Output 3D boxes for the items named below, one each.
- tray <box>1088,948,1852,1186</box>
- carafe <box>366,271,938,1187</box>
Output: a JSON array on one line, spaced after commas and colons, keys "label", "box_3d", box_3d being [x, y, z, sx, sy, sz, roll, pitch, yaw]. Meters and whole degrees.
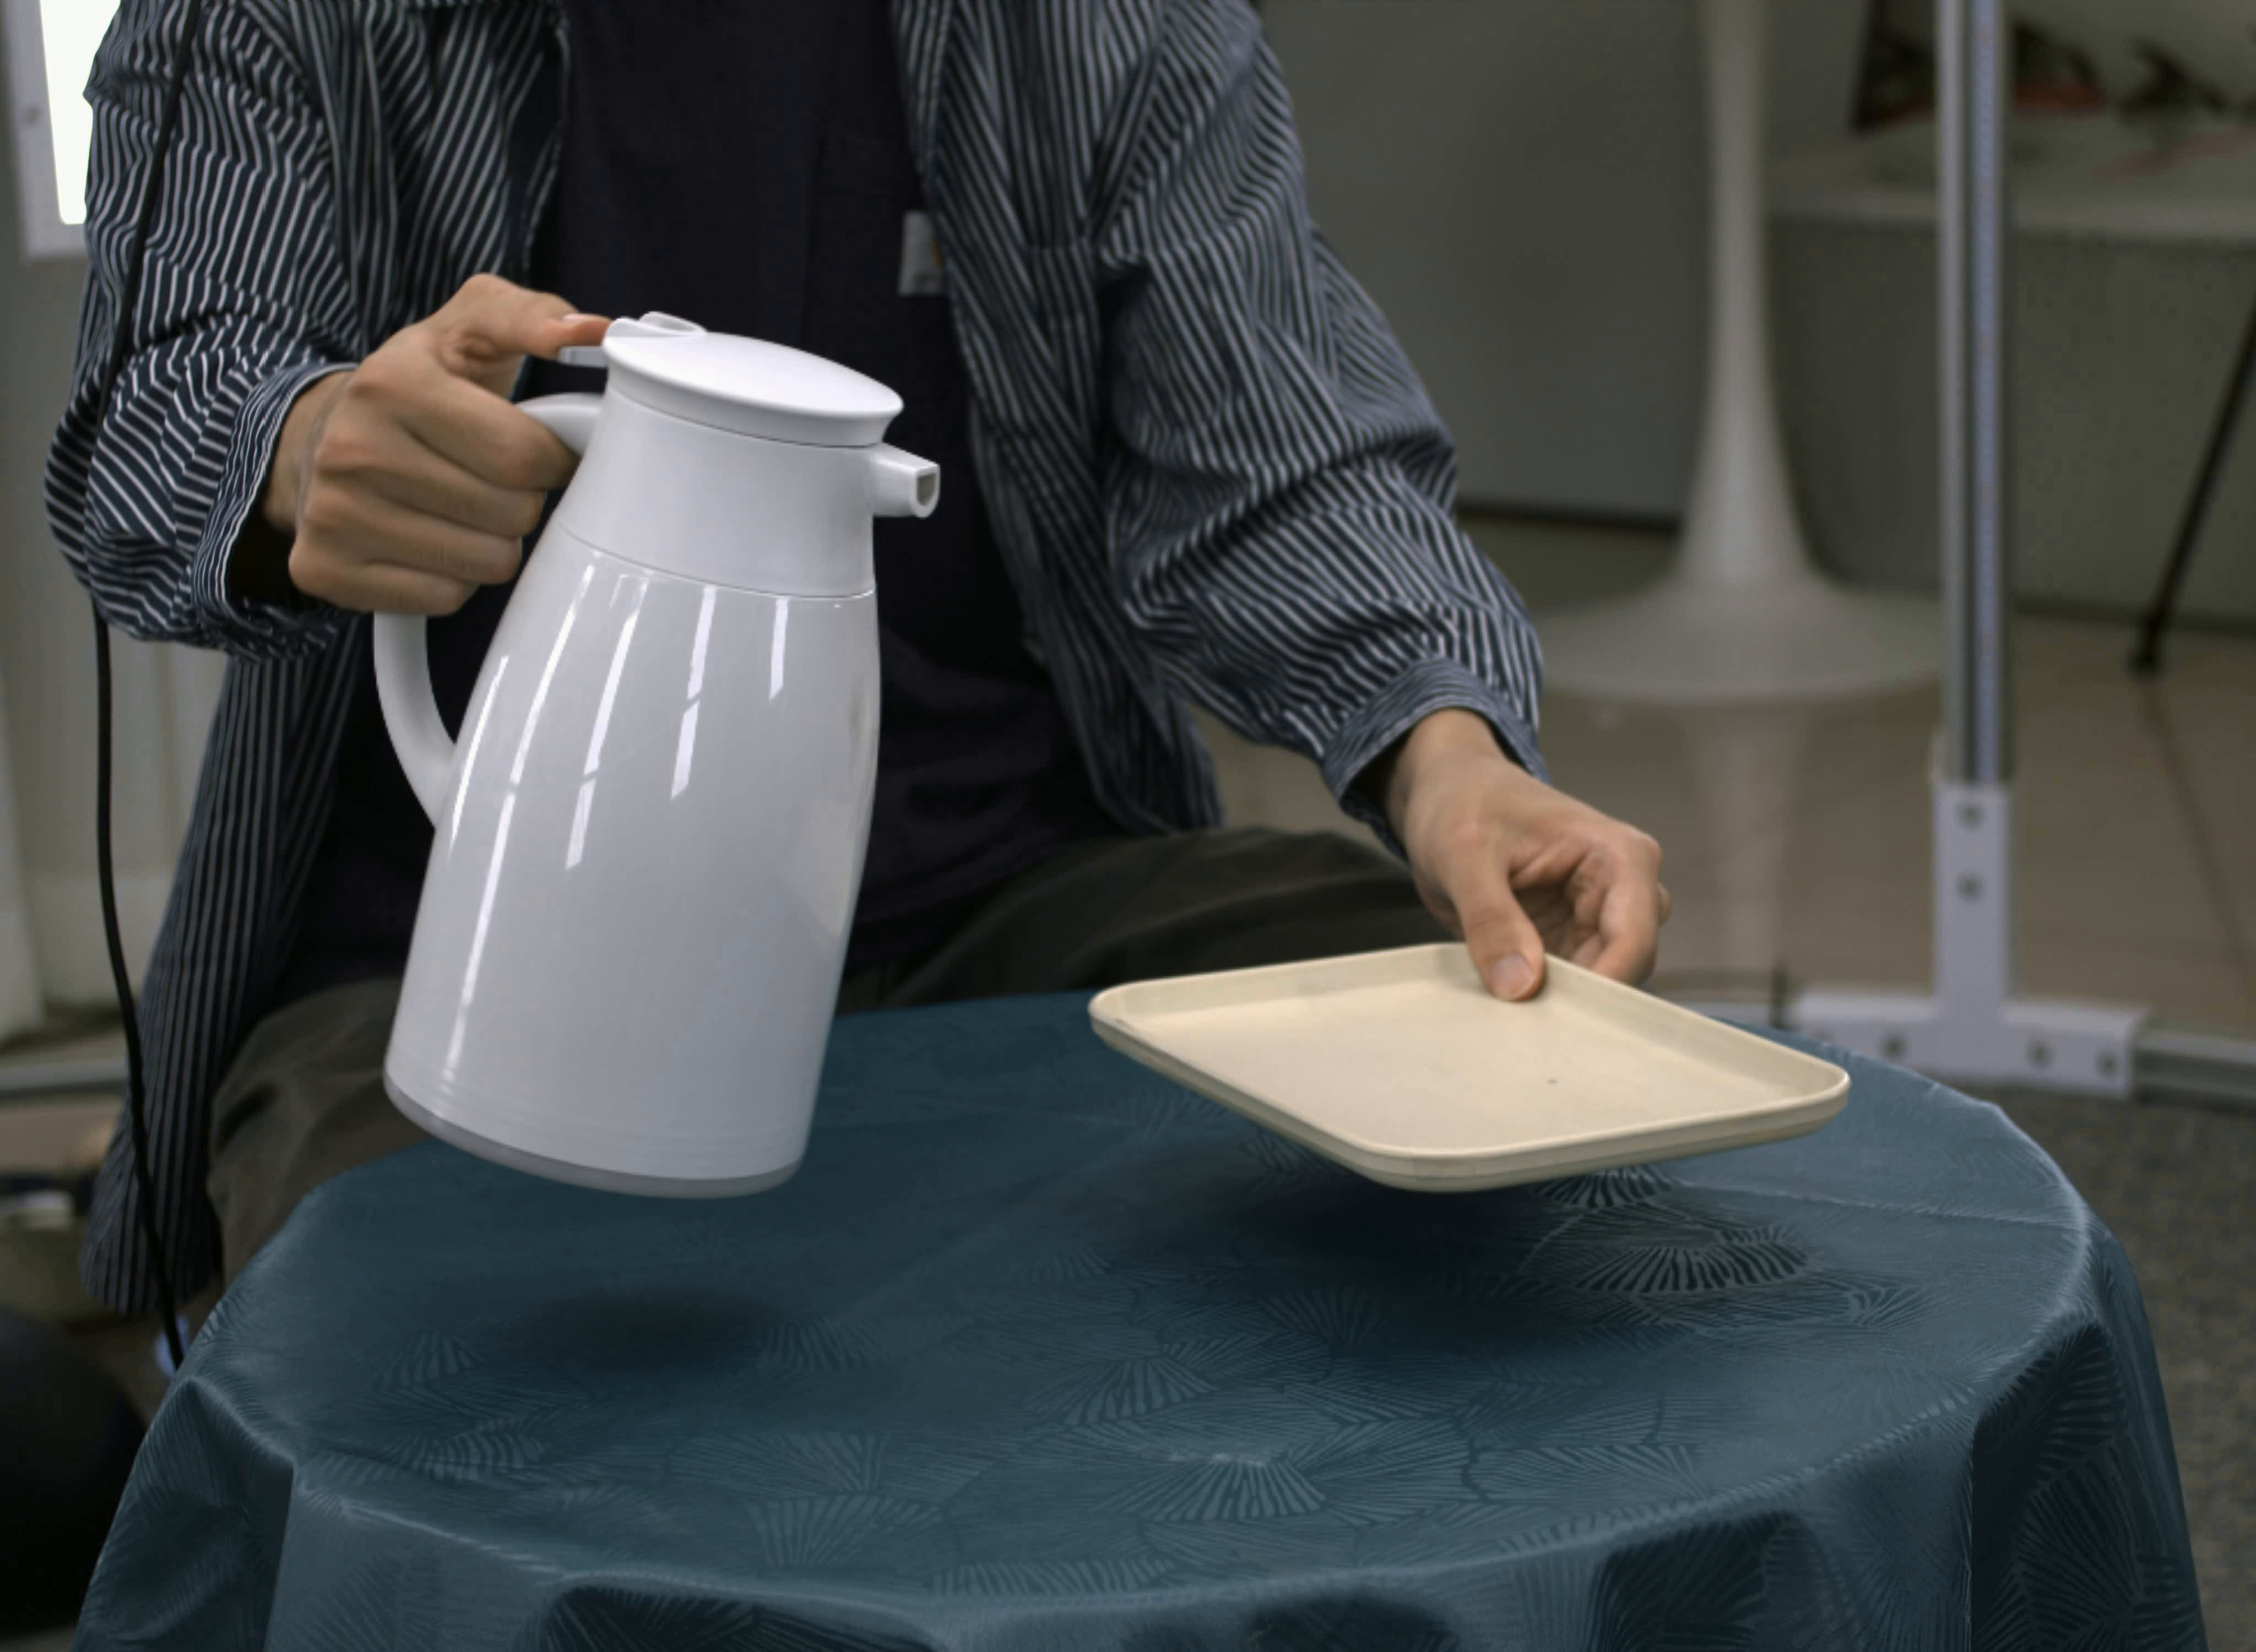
[{"label": "tray", "box_3d": [0.103, 0.075, 1.689, 0.167, 0.018, 0.242, -6, 12, -24]}, {"label": "carafe", "box_3d": [-0.154, -0.036, 1.627, 0.167, 0.251, 0.131, 15, 14, 14]}]
